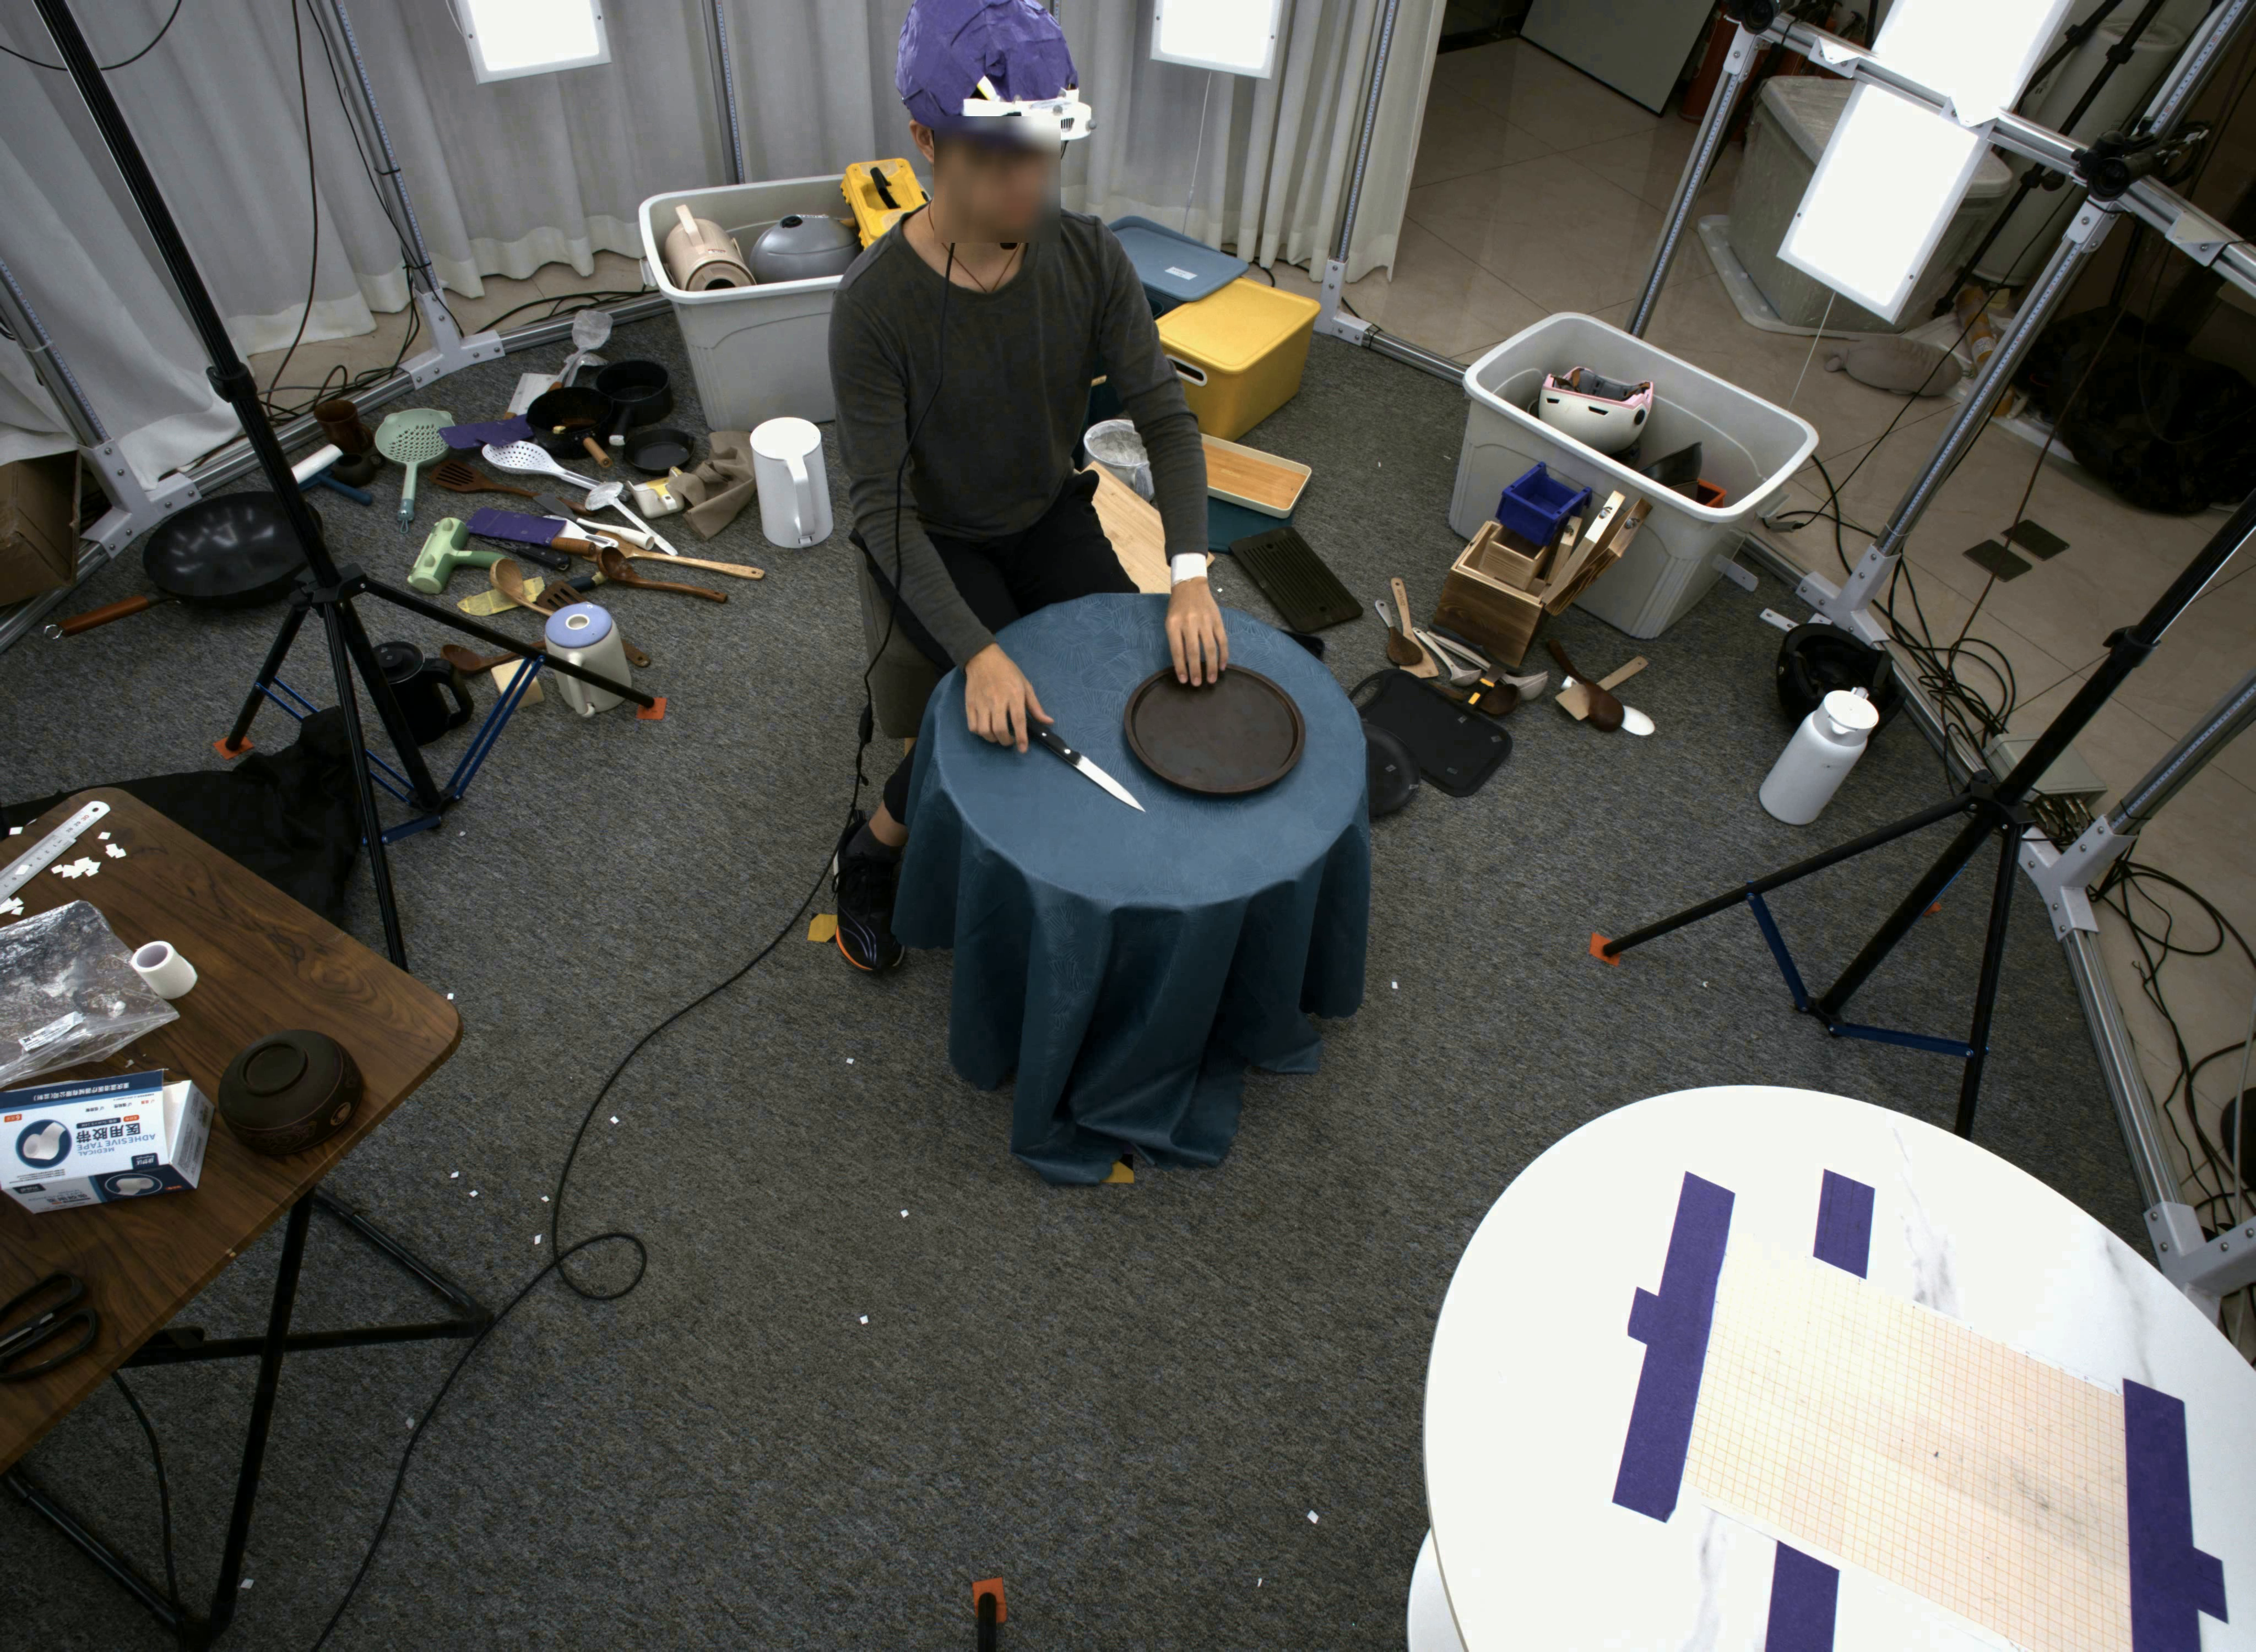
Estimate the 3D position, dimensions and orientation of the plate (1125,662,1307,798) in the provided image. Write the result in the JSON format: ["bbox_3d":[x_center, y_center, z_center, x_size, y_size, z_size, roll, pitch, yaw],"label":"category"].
[{"bbox_3d":[0.121,-0.135,1.778,0.254,0.028,0.261,2,50,-3],"label":"plate"}]

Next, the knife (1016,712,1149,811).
[{"bbox_3d":[-0.065,-0.085,1.730,0.241,0.016,0.025,36,58,22],"label":"knife"}]
